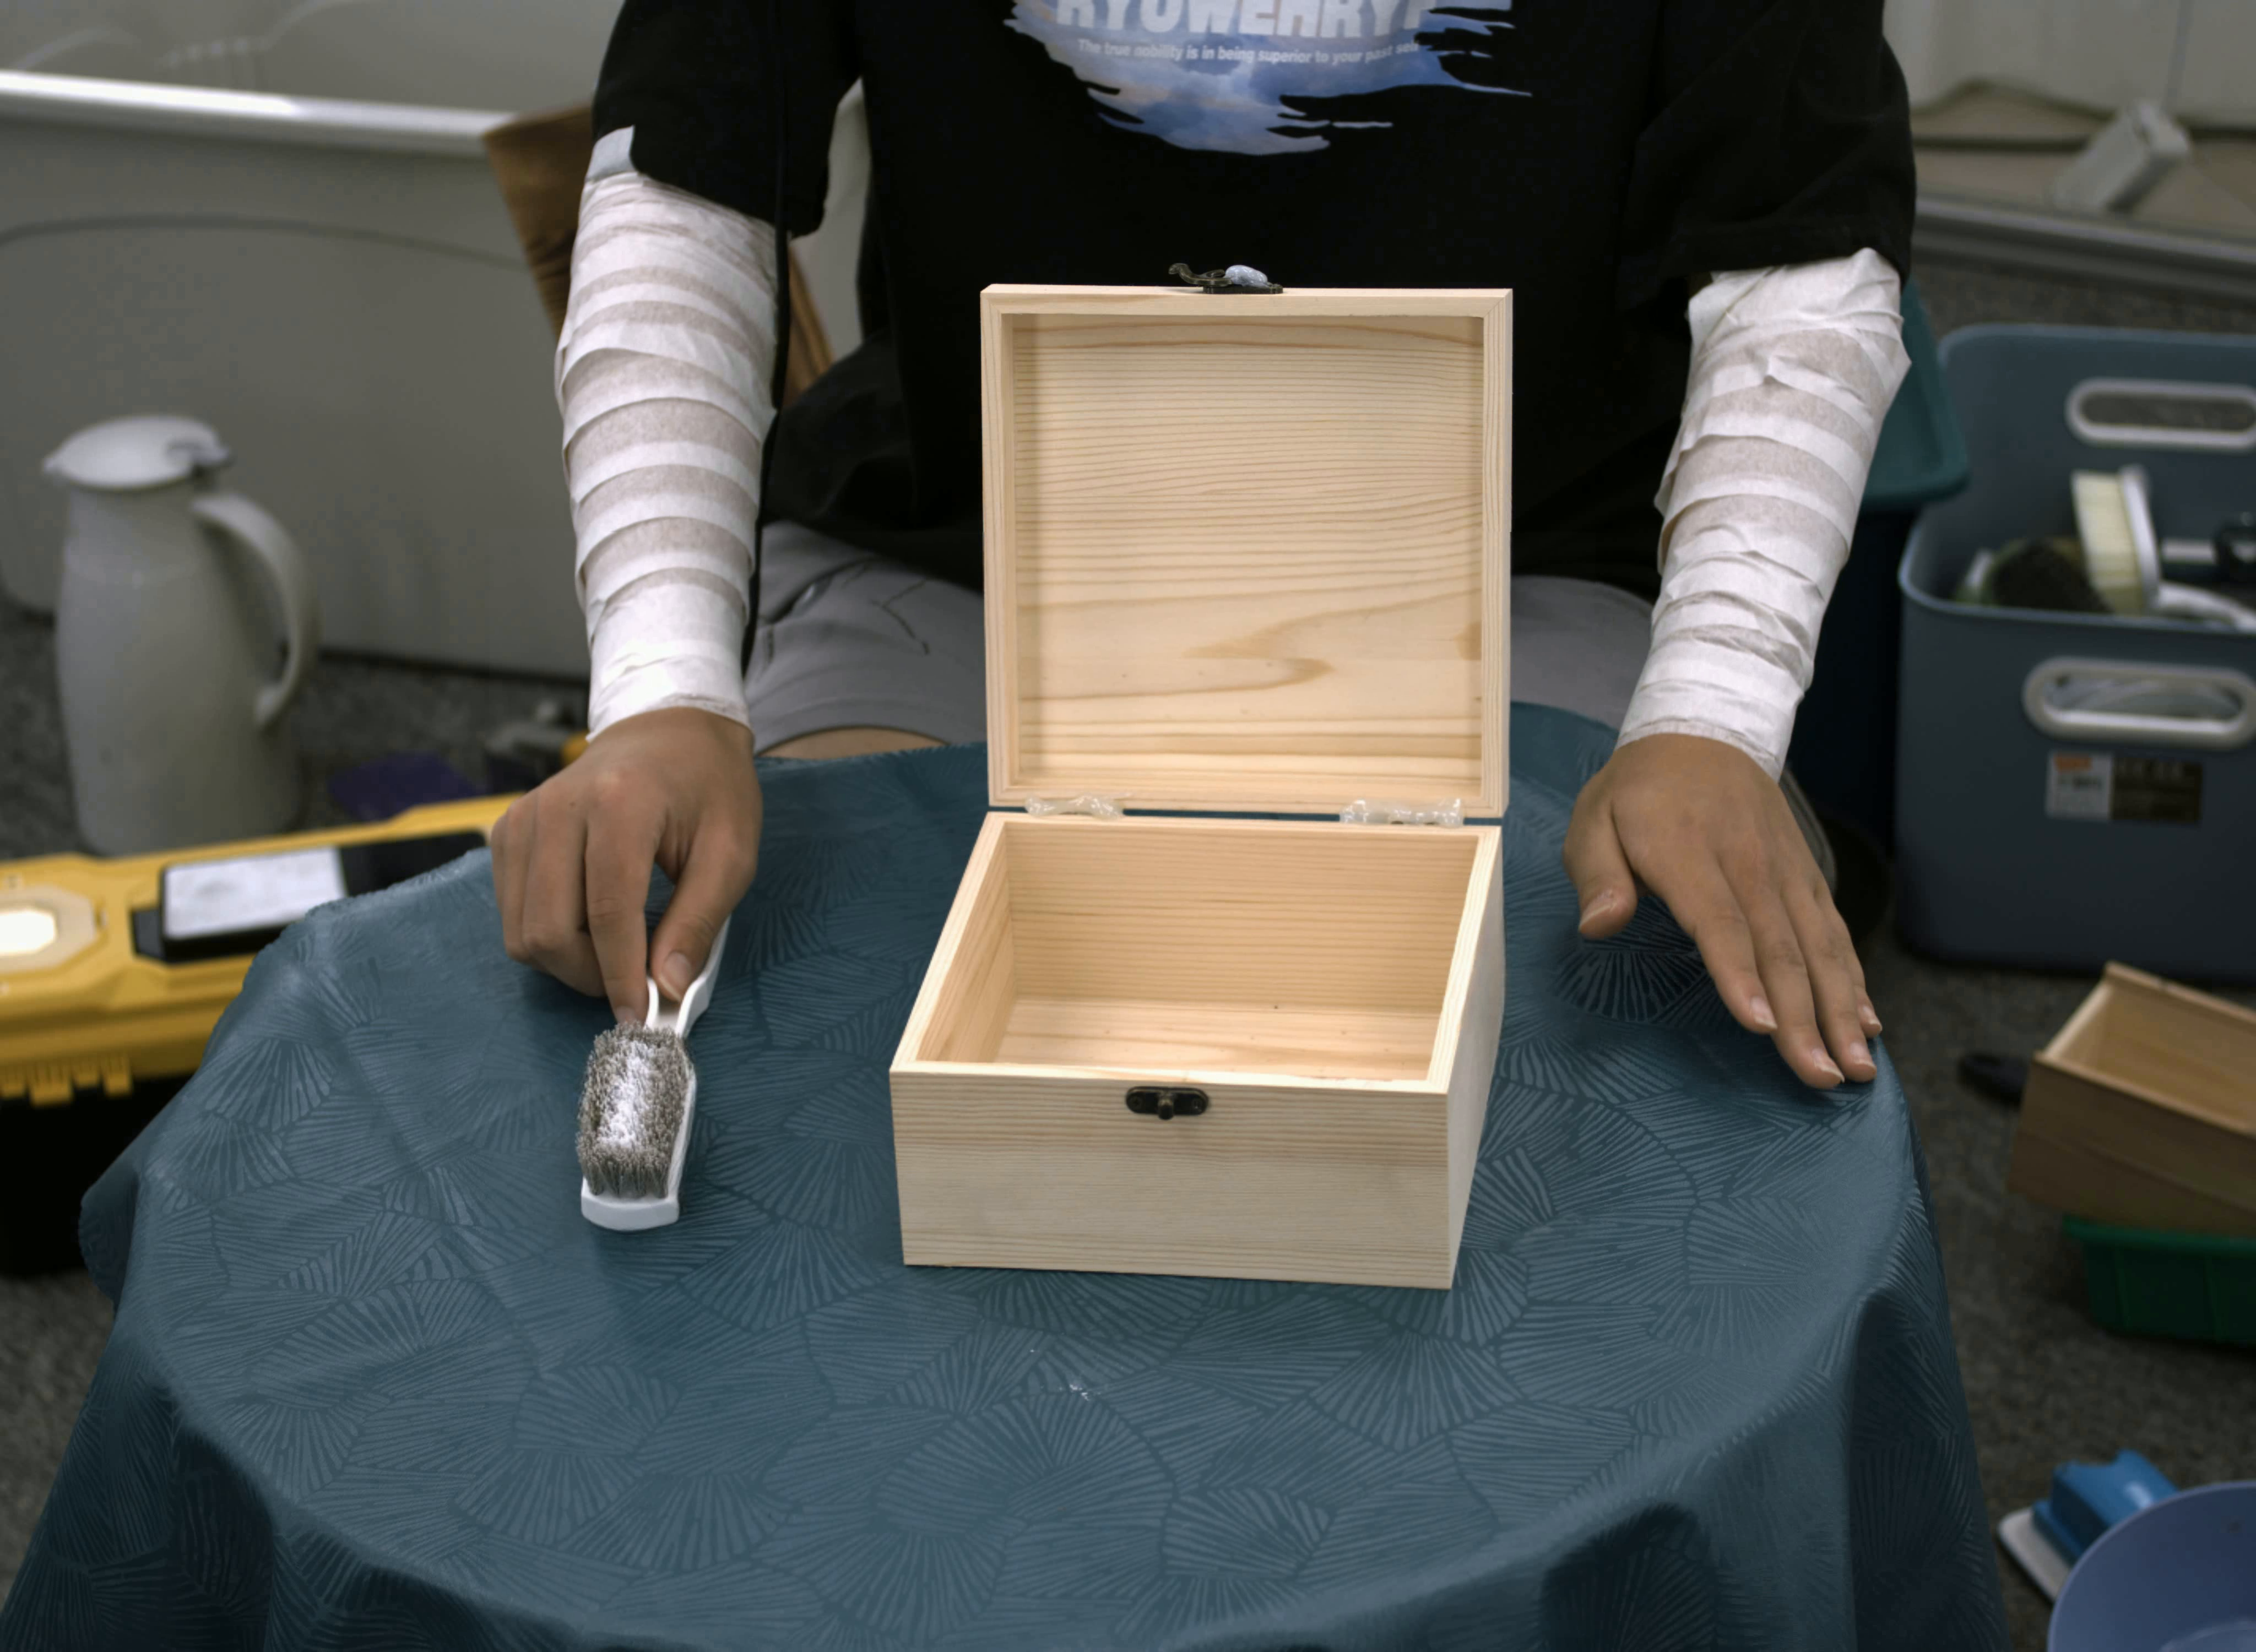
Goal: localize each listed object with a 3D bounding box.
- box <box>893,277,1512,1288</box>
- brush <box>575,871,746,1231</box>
[{"bbox_3d":[0.028,-0.021,1.869,0.180,0.251,0.269,0,26,9],"label":"box"},{"bbox_3d":[-0.158,0.060,1.941,0.034,0.049,0.247,4,28,3],"label":"brush"}]
